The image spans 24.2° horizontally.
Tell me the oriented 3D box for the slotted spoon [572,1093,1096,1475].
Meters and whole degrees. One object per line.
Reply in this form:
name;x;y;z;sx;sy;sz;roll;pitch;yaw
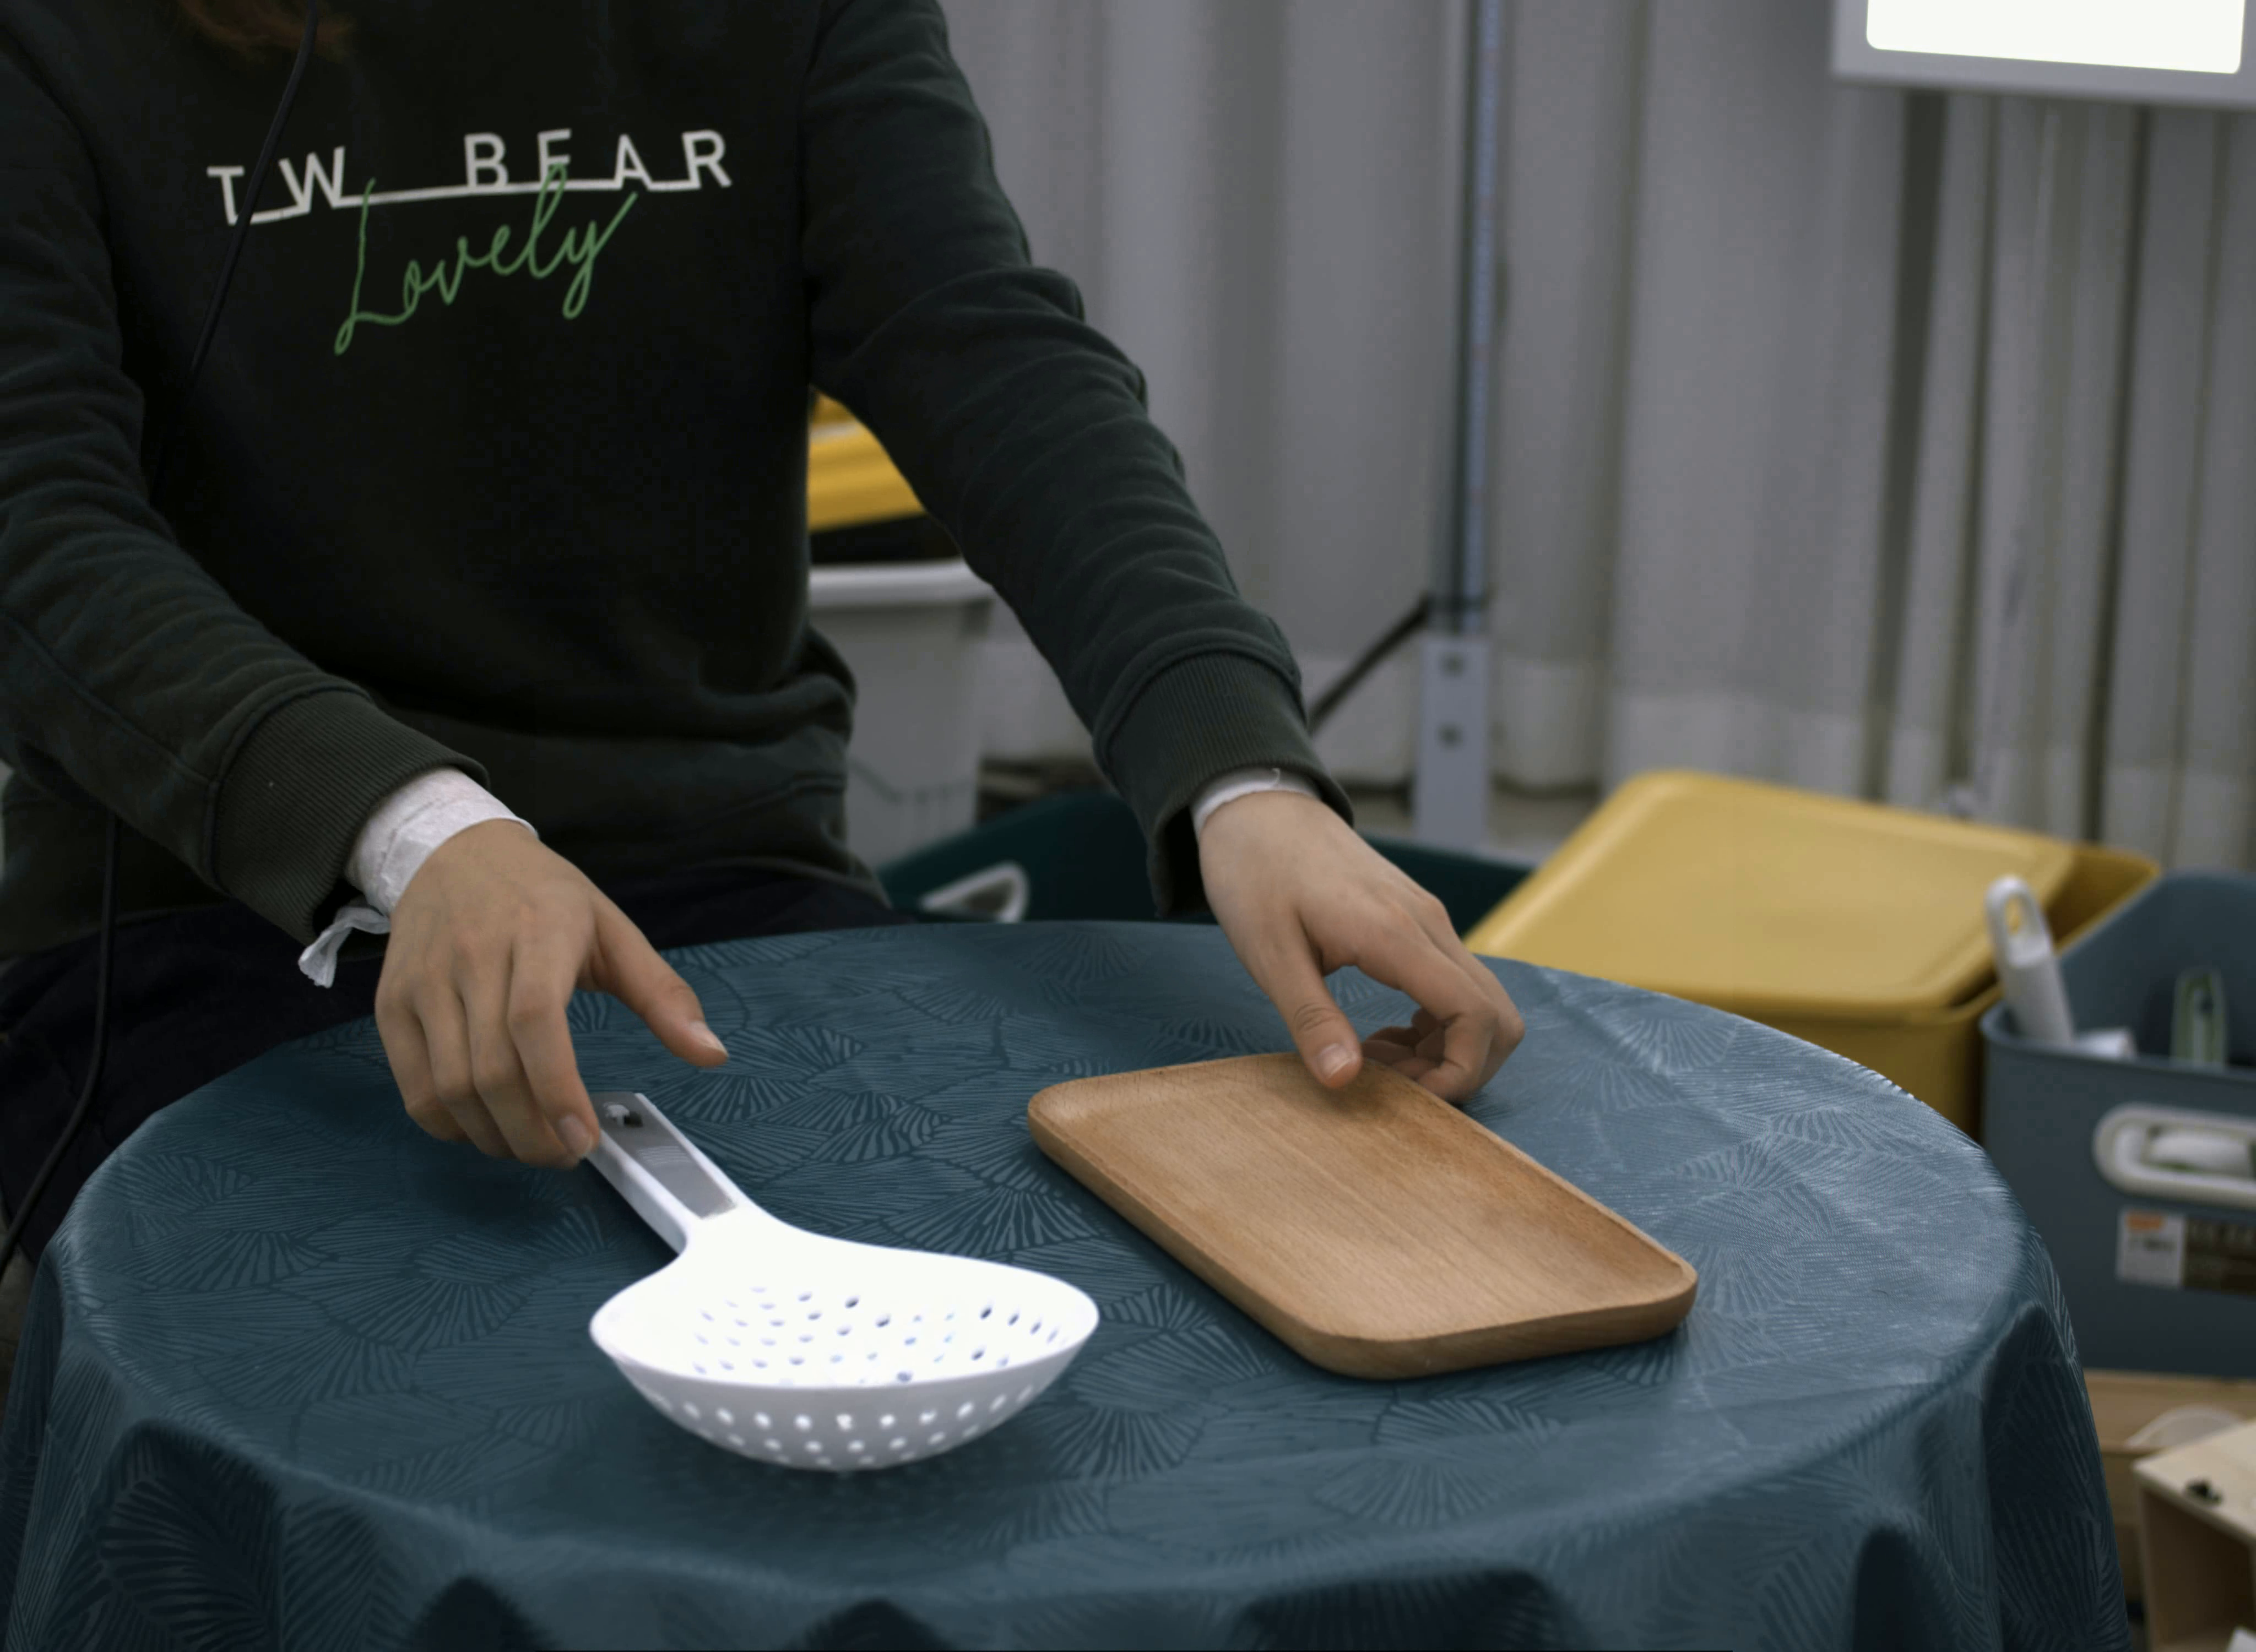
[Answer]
slotted spoon;-0.111;0.121;1.507;0.136;0.046;0.346;-2;15;-19

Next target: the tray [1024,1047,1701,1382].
tray;0.066;0.114;1.593;0.131;0.023;0.248;-4;16;-23
